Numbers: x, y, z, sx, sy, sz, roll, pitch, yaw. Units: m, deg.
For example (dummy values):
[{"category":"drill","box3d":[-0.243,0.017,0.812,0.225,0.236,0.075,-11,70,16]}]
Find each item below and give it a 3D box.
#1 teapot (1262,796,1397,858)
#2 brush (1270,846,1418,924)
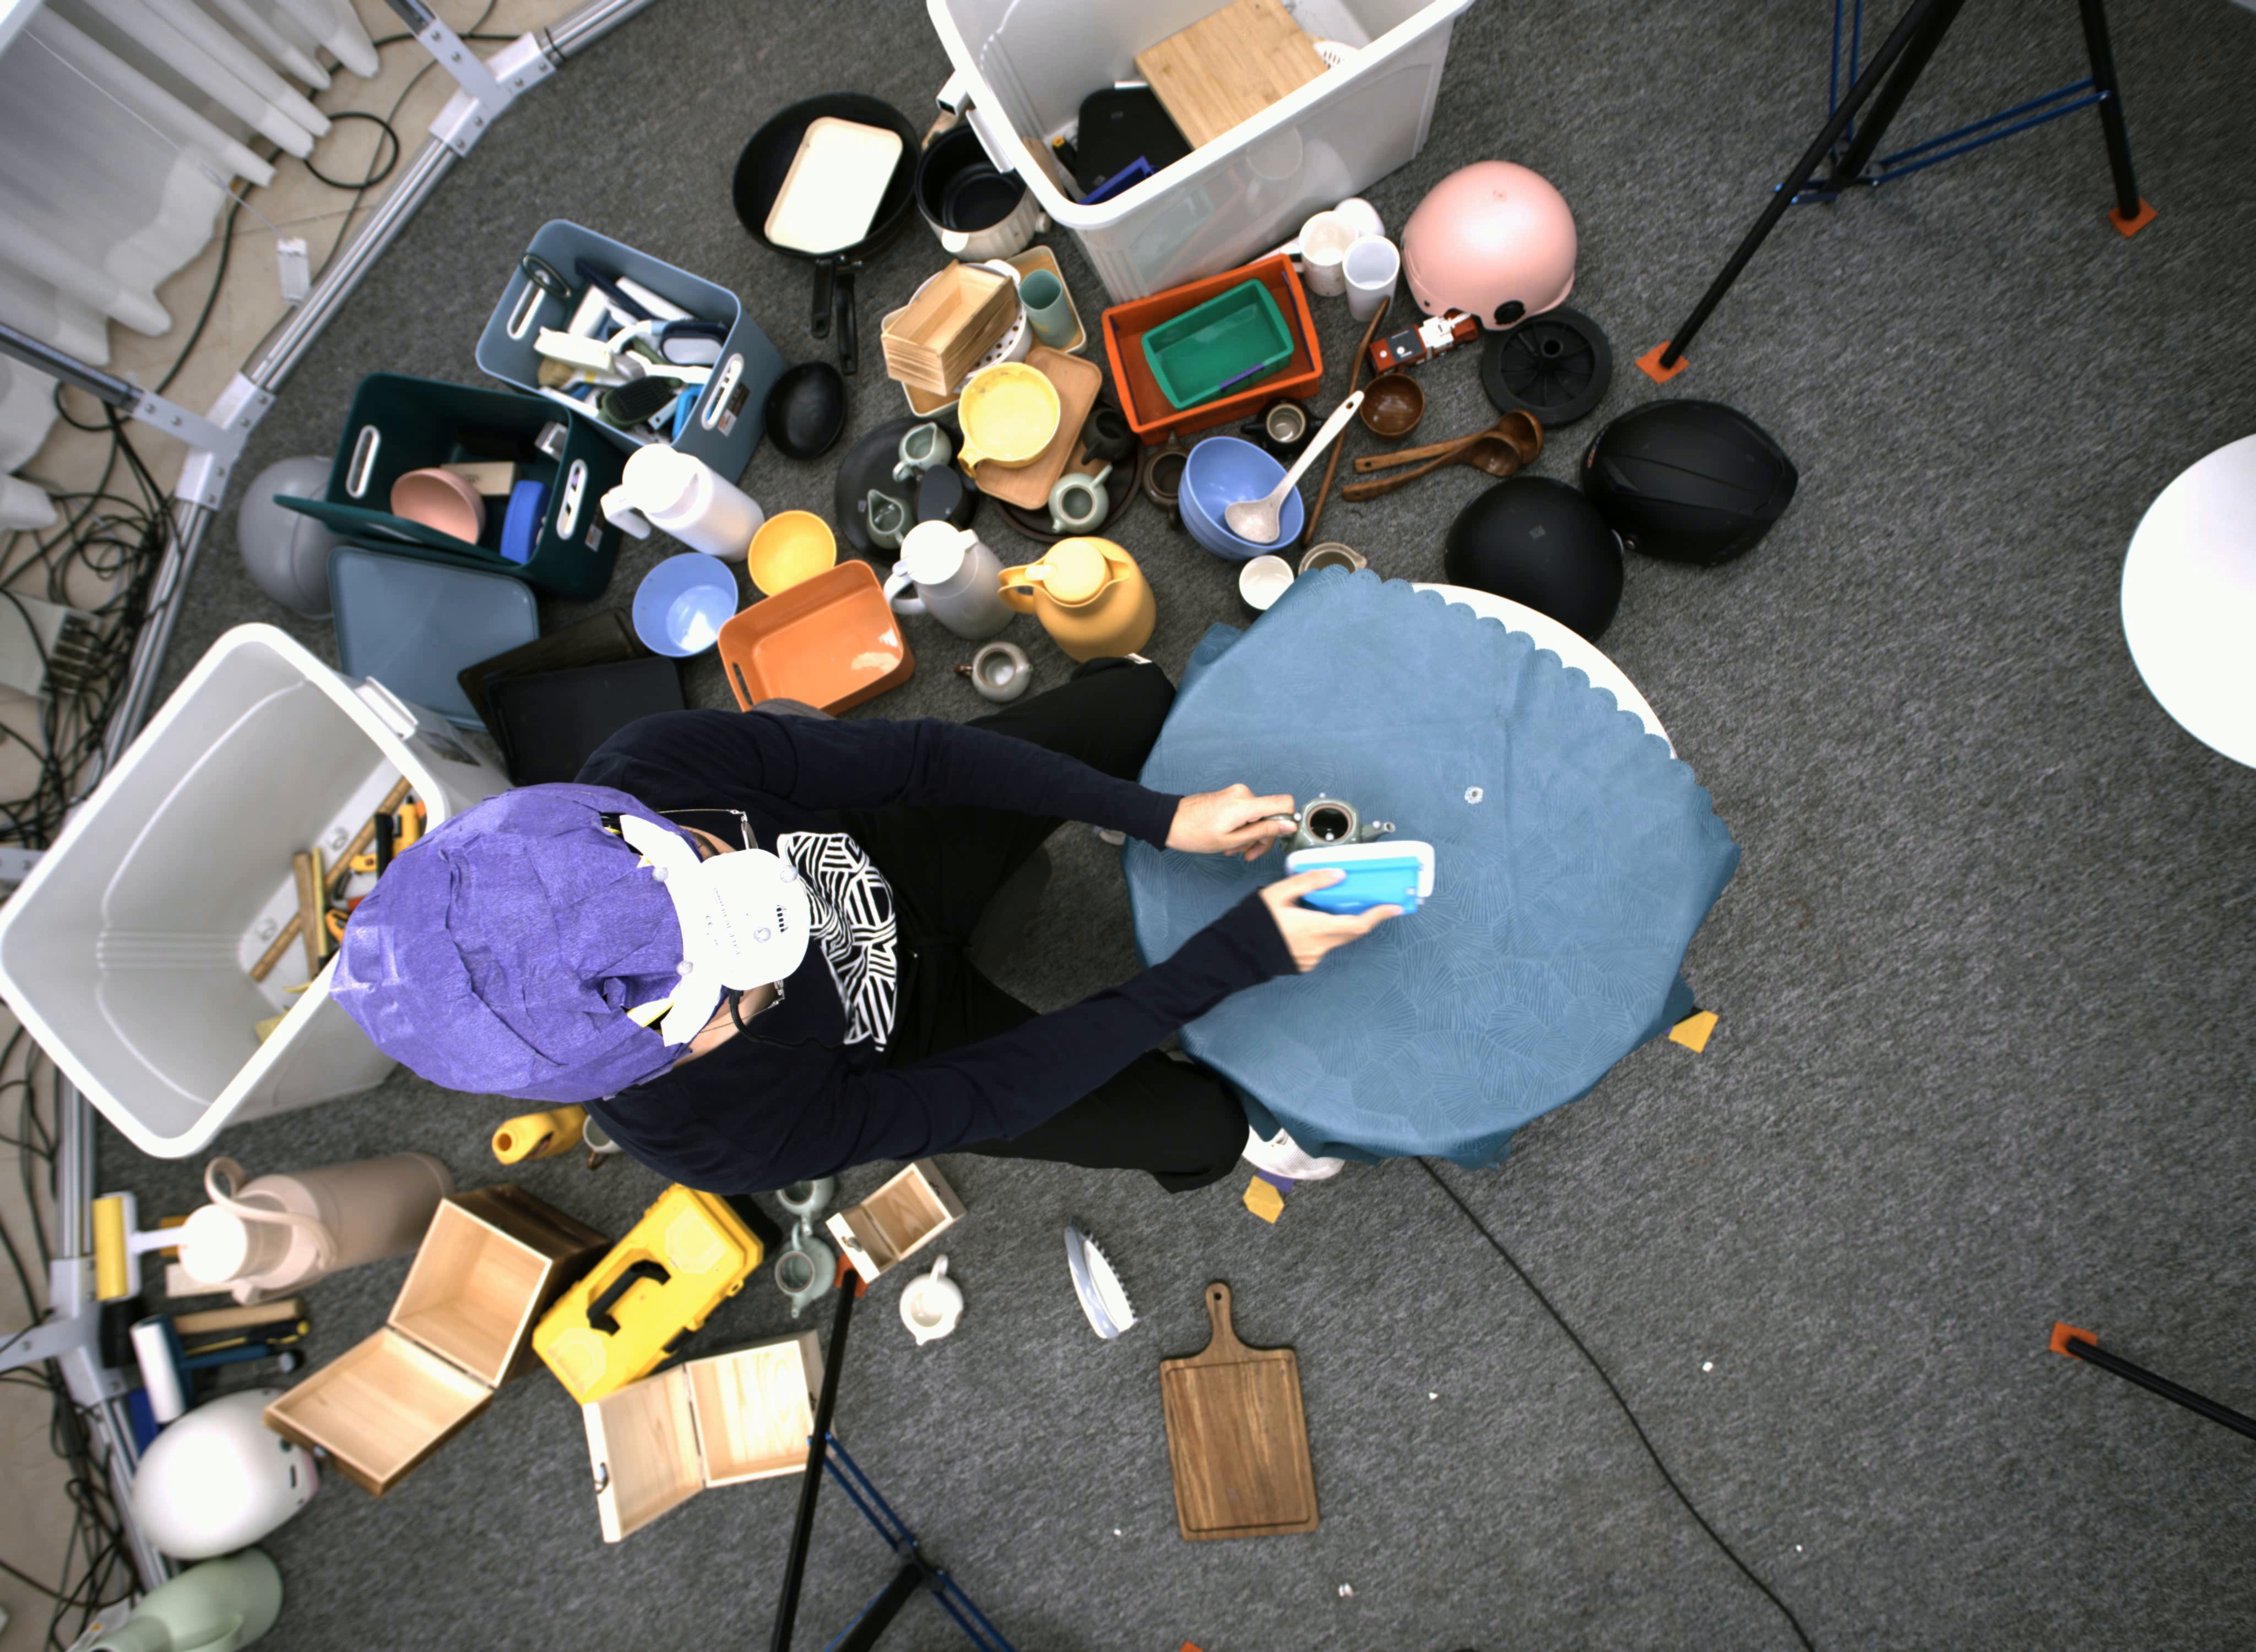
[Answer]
[{"category":"teapot","box3d":[0.200,0.012,1.385,0.133,0.077,0.078,5,57,8]},{"category":"brush","box3d":[0.212,0.064,1.347,0.144,0.086,0.054,-5,43,7]}]
